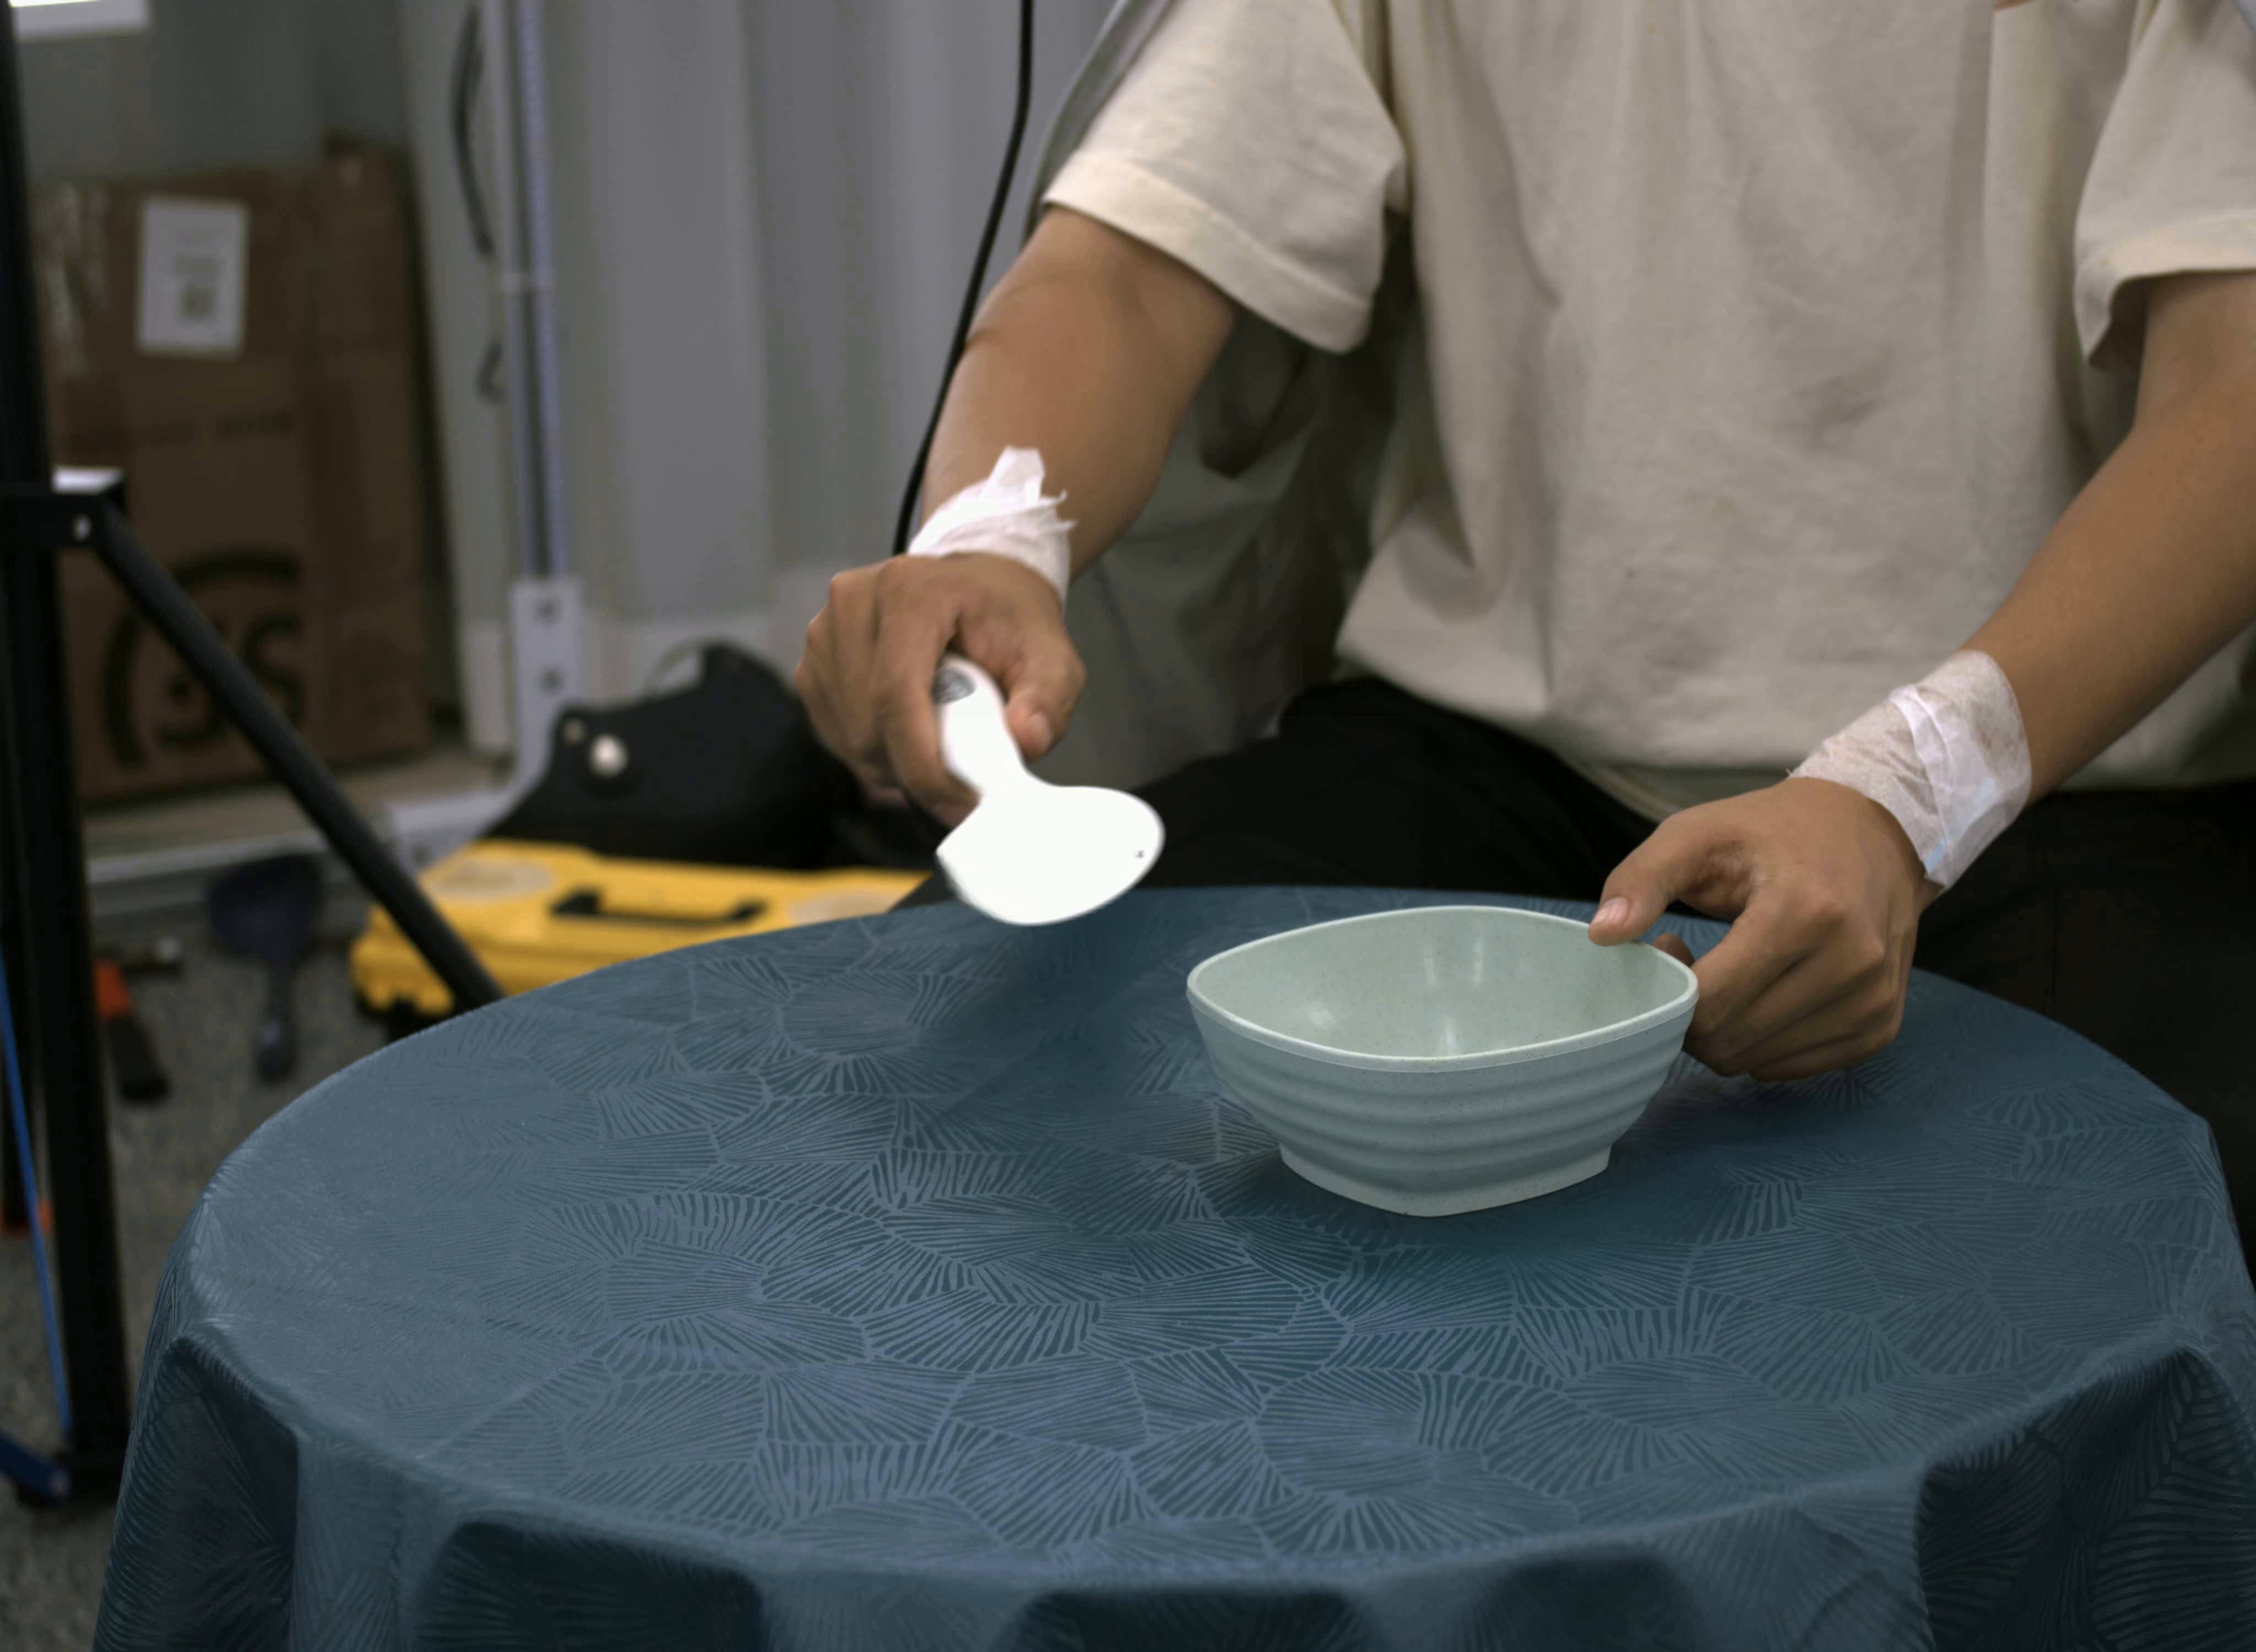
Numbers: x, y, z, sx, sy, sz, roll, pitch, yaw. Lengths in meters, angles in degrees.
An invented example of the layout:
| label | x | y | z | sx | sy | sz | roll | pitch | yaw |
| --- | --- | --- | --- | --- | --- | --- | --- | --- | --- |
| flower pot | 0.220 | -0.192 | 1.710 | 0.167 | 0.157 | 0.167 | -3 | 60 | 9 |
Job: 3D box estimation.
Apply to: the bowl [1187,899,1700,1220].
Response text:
| label | x | y | z | sx | sy | sz | roll | pitch | yaw |
| --- | --- | --- | --- | --- | --- | --- | --- | --- | --- |
| bowl | 0.094 | 0.072 | 1.561 | 0.151 | 0.058 | 0.152 | -5 | 17 | 0 |

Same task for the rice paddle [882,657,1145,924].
| label | x | y | z | sx | sy | sz | roll | pitch | yaw |
| --- | --- | --- | --- | --- | --- | --- | --- | --- | --- |
| rice paddle | -0.041 | -0.010 | 1.614 | 0.068 | 0.029 | 0.208 | -21 | 21 | -6 |
